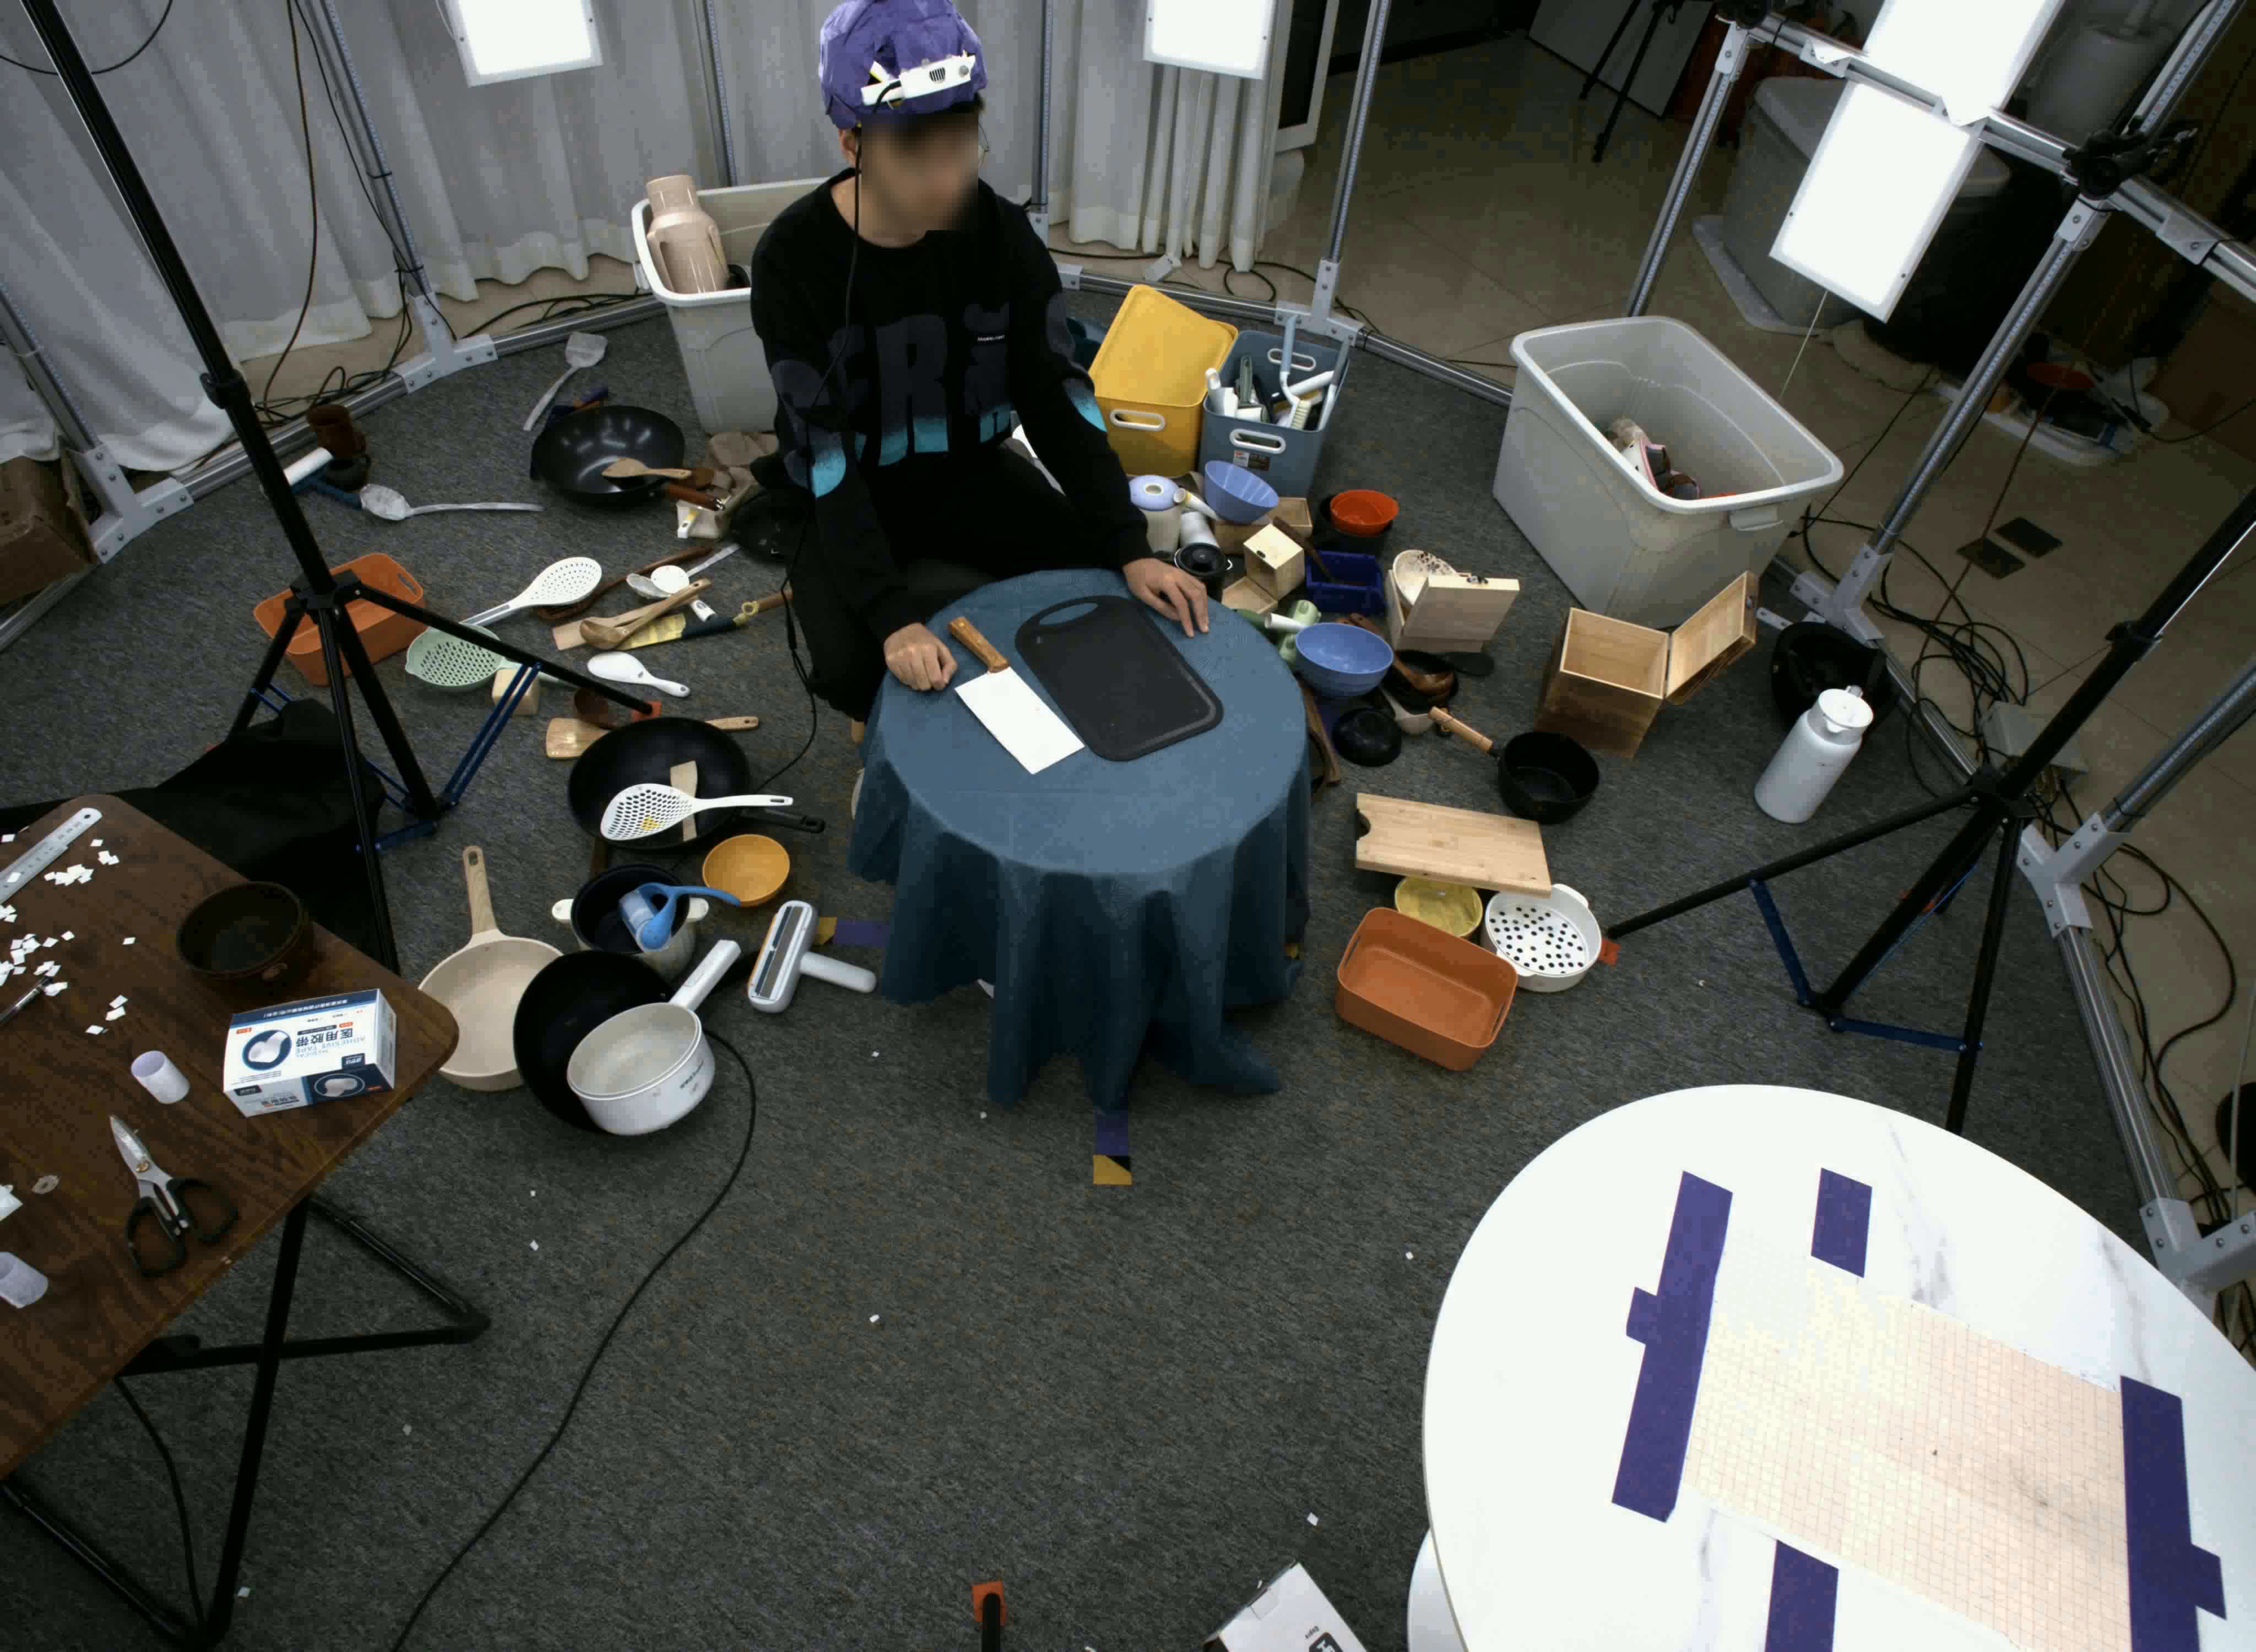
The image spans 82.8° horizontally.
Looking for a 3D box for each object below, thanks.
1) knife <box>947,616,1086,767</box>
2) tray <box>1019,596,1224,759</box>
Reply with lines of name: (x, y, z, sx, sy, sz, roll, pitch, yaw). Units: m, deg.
knife: (-0.181, -0.190, 1.811, 0.093, 0.020, 0.311, -29, 59, -24)
tray: (-0.017, -0.227, 1.860, 0.211, 0.009, 0.332, -21, 54, -20)
